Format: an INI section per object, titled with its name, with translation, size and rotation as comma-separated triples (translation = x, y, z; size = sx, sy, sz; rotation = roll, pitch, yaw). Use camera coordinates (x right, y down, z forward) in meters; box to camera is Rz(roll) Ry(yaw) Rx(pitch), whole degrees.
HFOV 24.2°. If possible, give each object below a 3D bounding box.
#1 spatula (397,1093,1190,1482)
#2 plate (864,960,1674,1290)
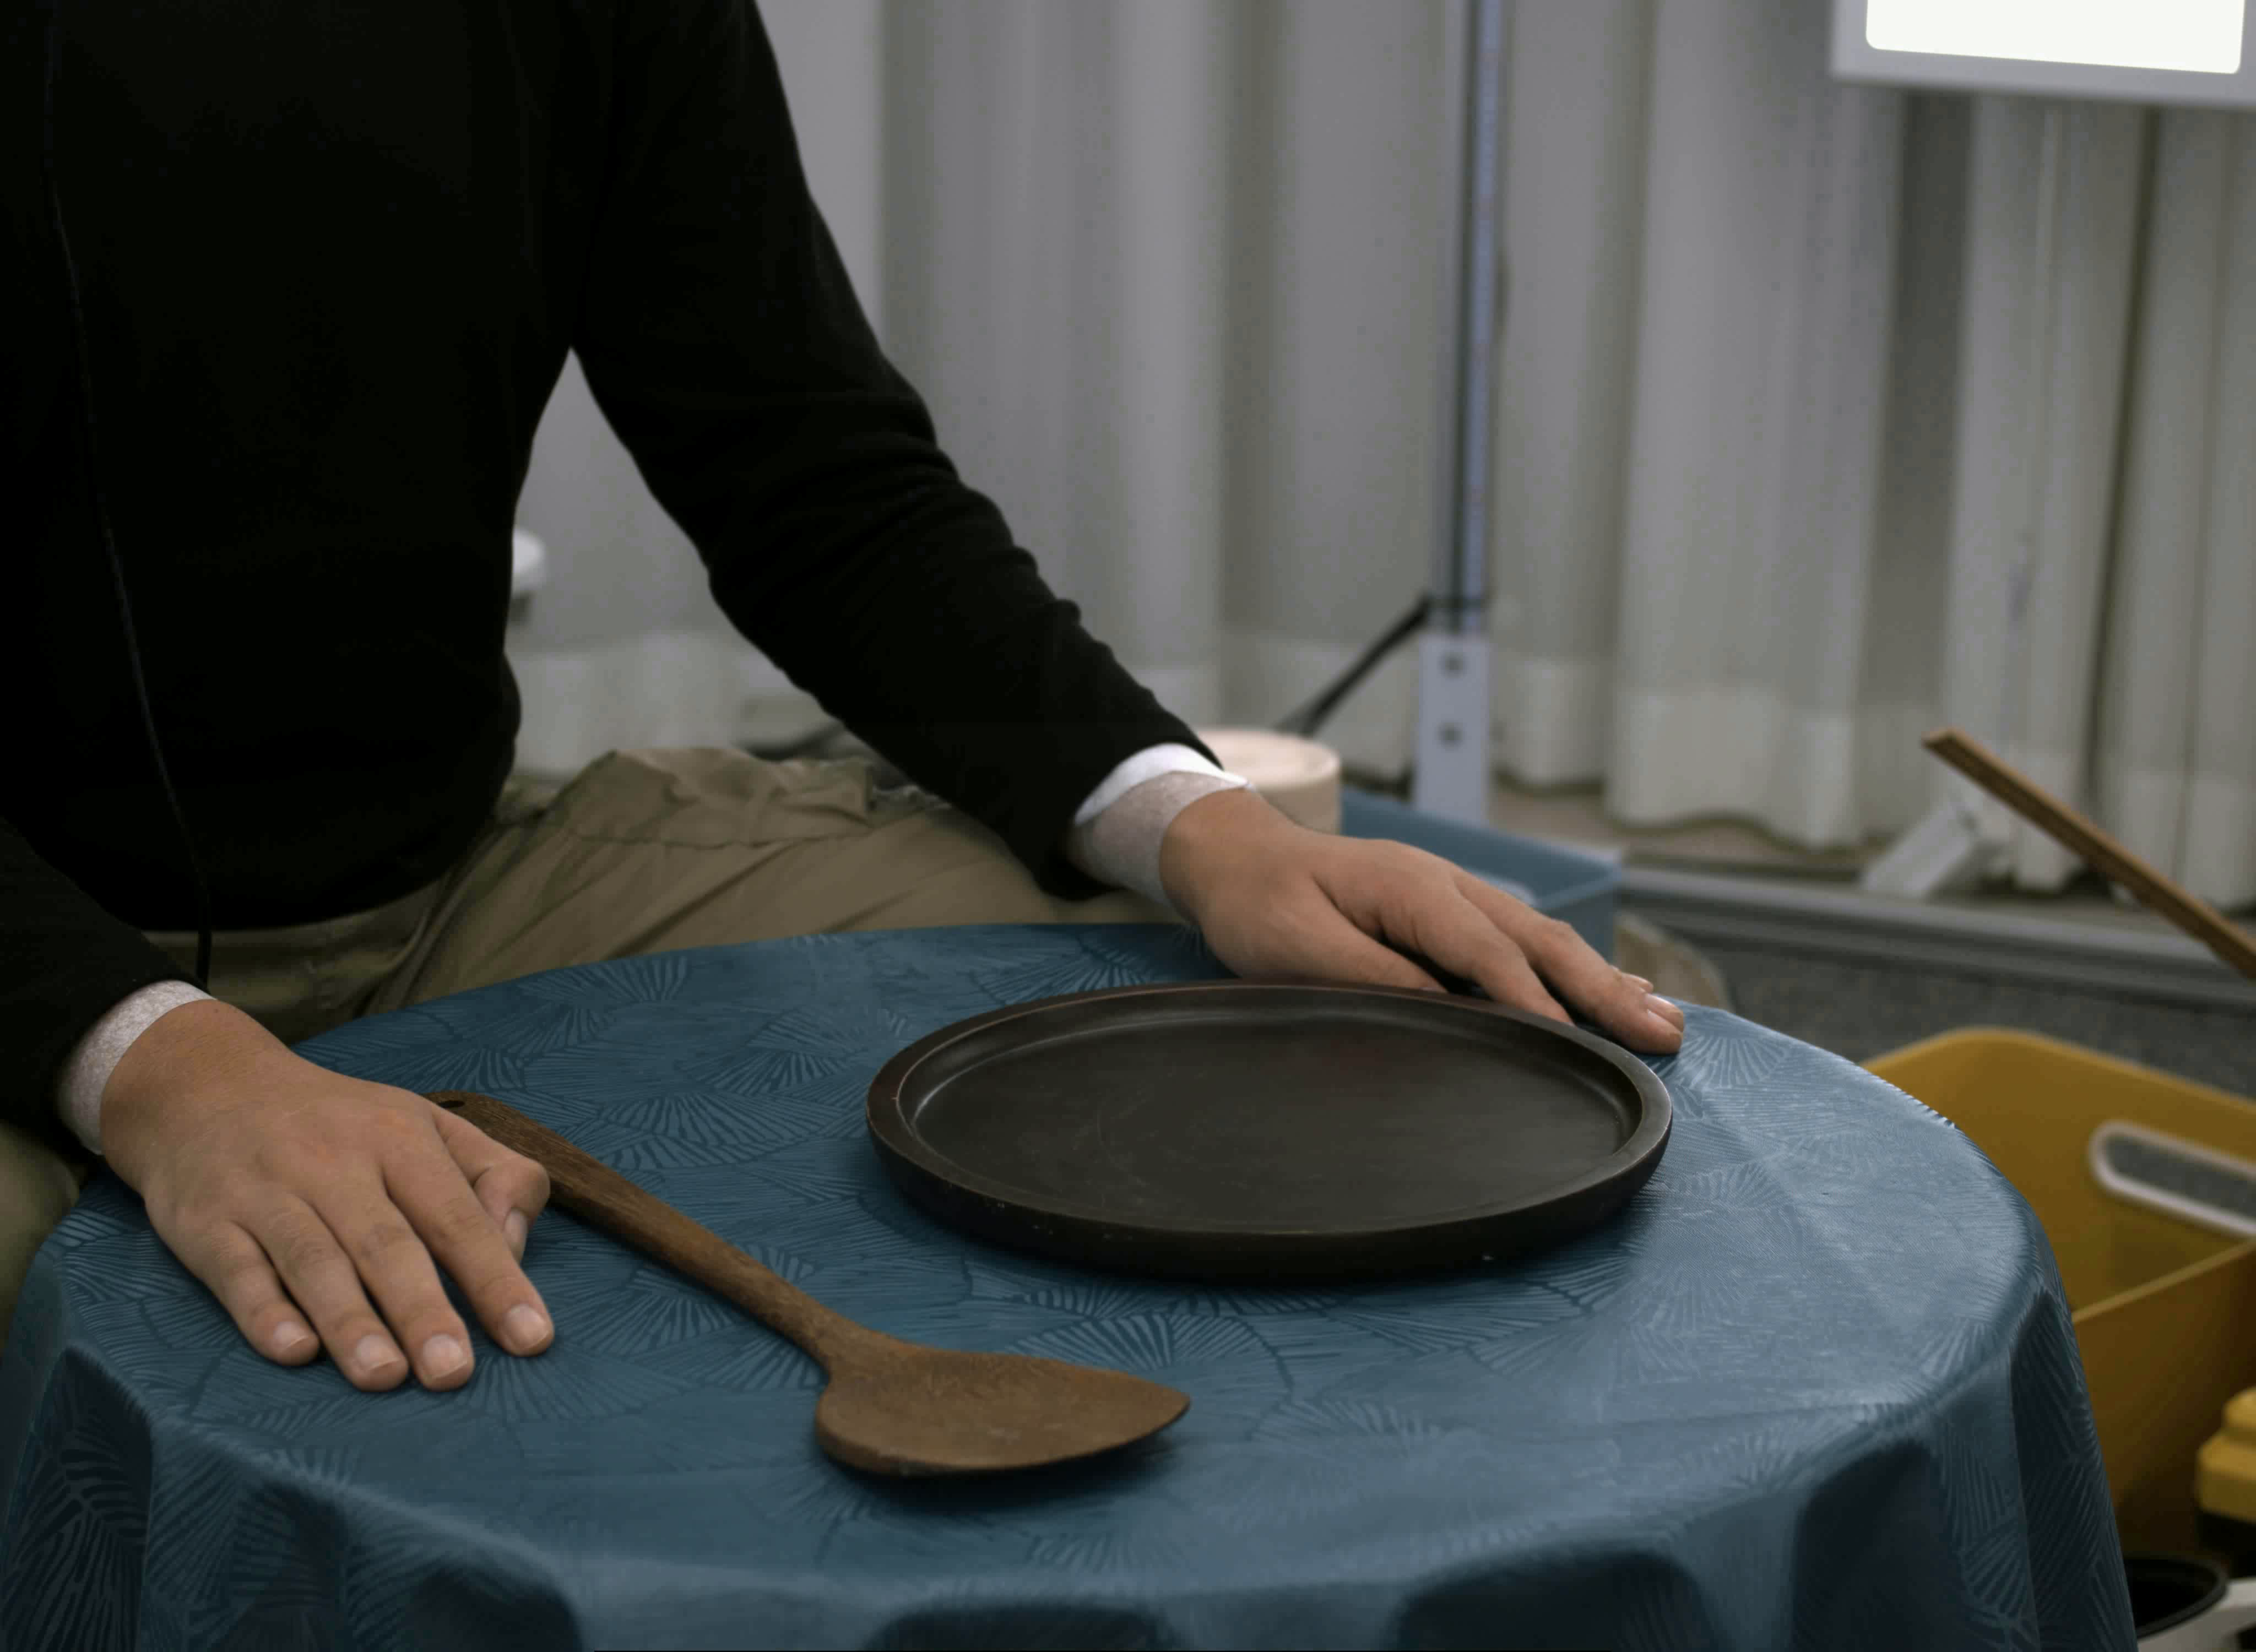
[spatula]
translation = -0.120, 0.128, 1.534
size = 0.096, 0.016, 0.381
rotation = -9, 18, -33
[plate]
translation = 0.044, 0.094, 1.644
size = 0.254, 0.029, 0.253
rotation = -1, 16, 1
